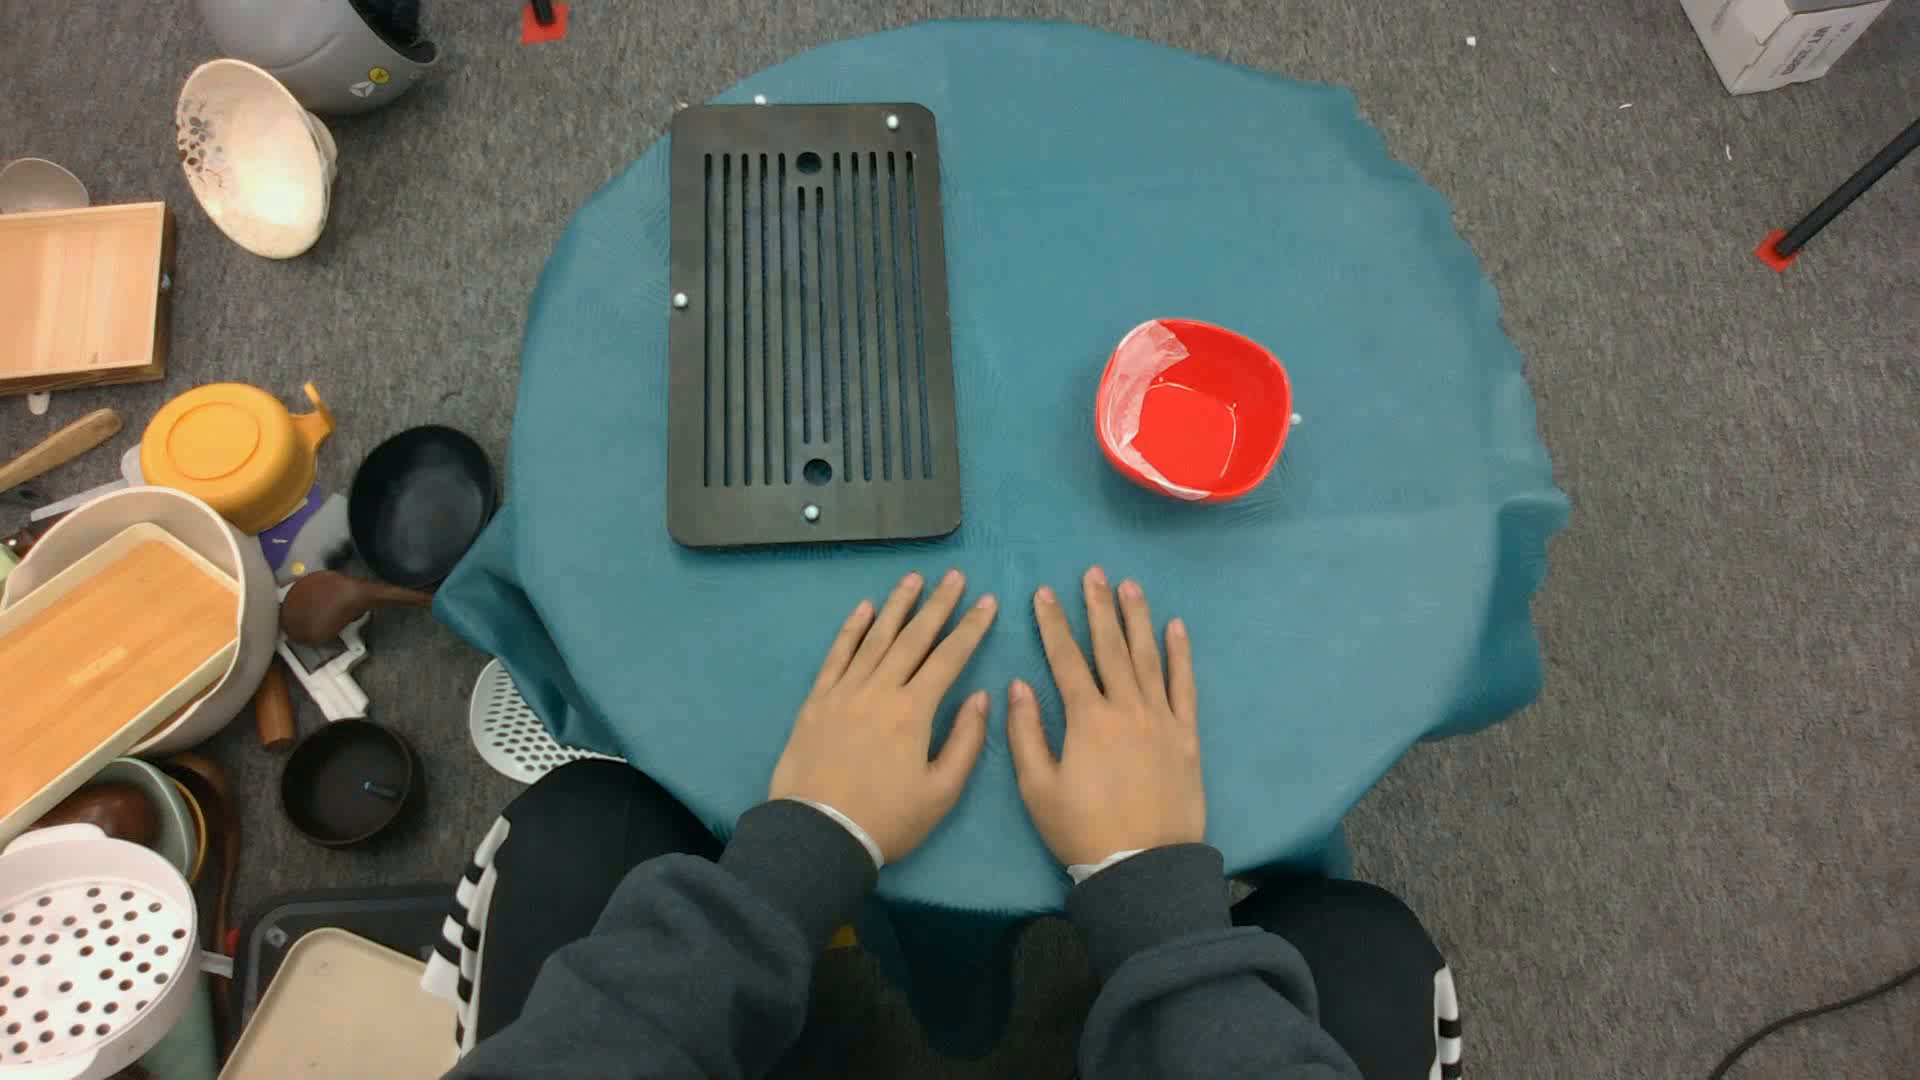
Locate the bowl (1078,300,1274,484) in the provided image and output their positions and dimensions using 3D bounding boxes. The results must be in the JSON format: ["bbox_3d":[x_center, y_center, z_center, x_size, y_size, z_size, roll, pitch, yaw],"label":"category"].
[{"bbox_3d":[0.122,-0.079,0.807,0.119,0.051,0.119,2,67,-4],"label":"bowl"}]

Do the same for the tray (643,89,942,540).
[{"bbox_3d":[-0.106,-0.145,0.839,0.170,0.018,0.307,-3,69,-5],"label":"tray"}]
